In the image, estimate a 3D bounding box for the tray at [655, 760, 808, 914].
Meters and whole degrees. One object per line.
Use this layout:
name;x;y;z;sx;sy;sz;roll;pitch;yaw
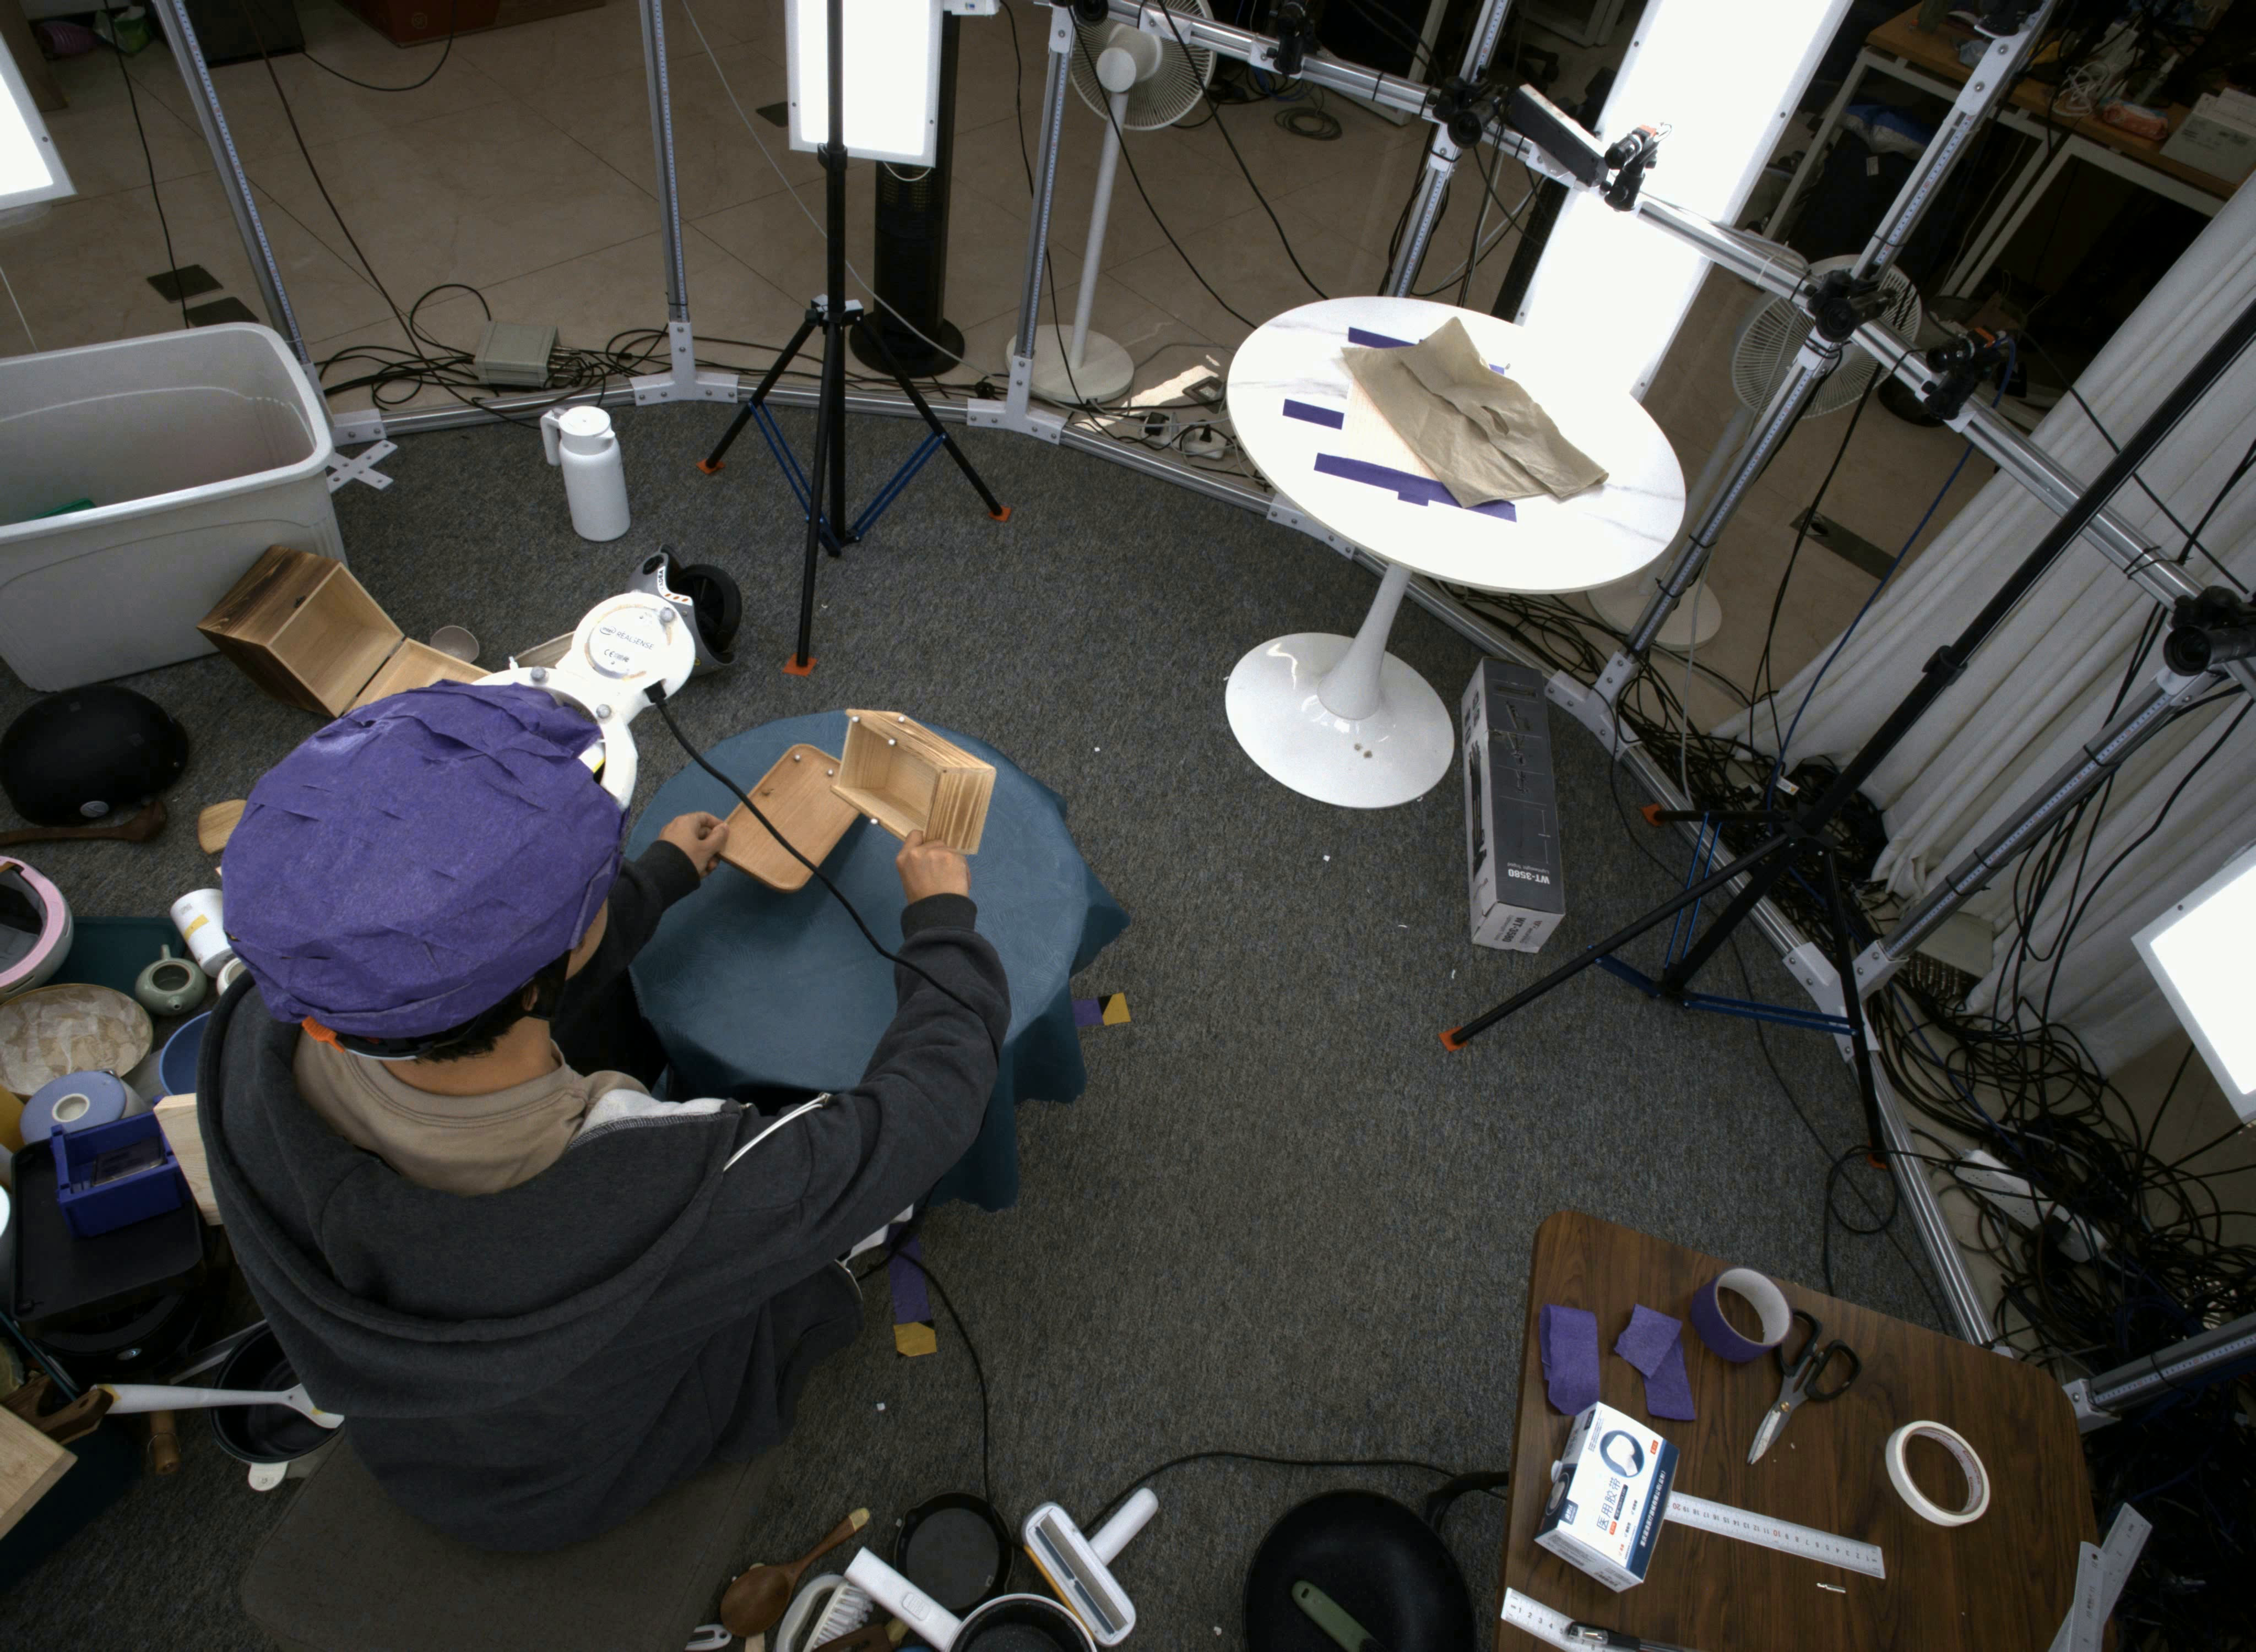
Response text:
tray;-0.487;0.009;1.625;0.130;0.023;0.247;27;39;-5

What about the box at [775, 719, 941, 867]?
box;-0.318;-0.042;1.509;0.203;0.110;0.082;26;20;38
